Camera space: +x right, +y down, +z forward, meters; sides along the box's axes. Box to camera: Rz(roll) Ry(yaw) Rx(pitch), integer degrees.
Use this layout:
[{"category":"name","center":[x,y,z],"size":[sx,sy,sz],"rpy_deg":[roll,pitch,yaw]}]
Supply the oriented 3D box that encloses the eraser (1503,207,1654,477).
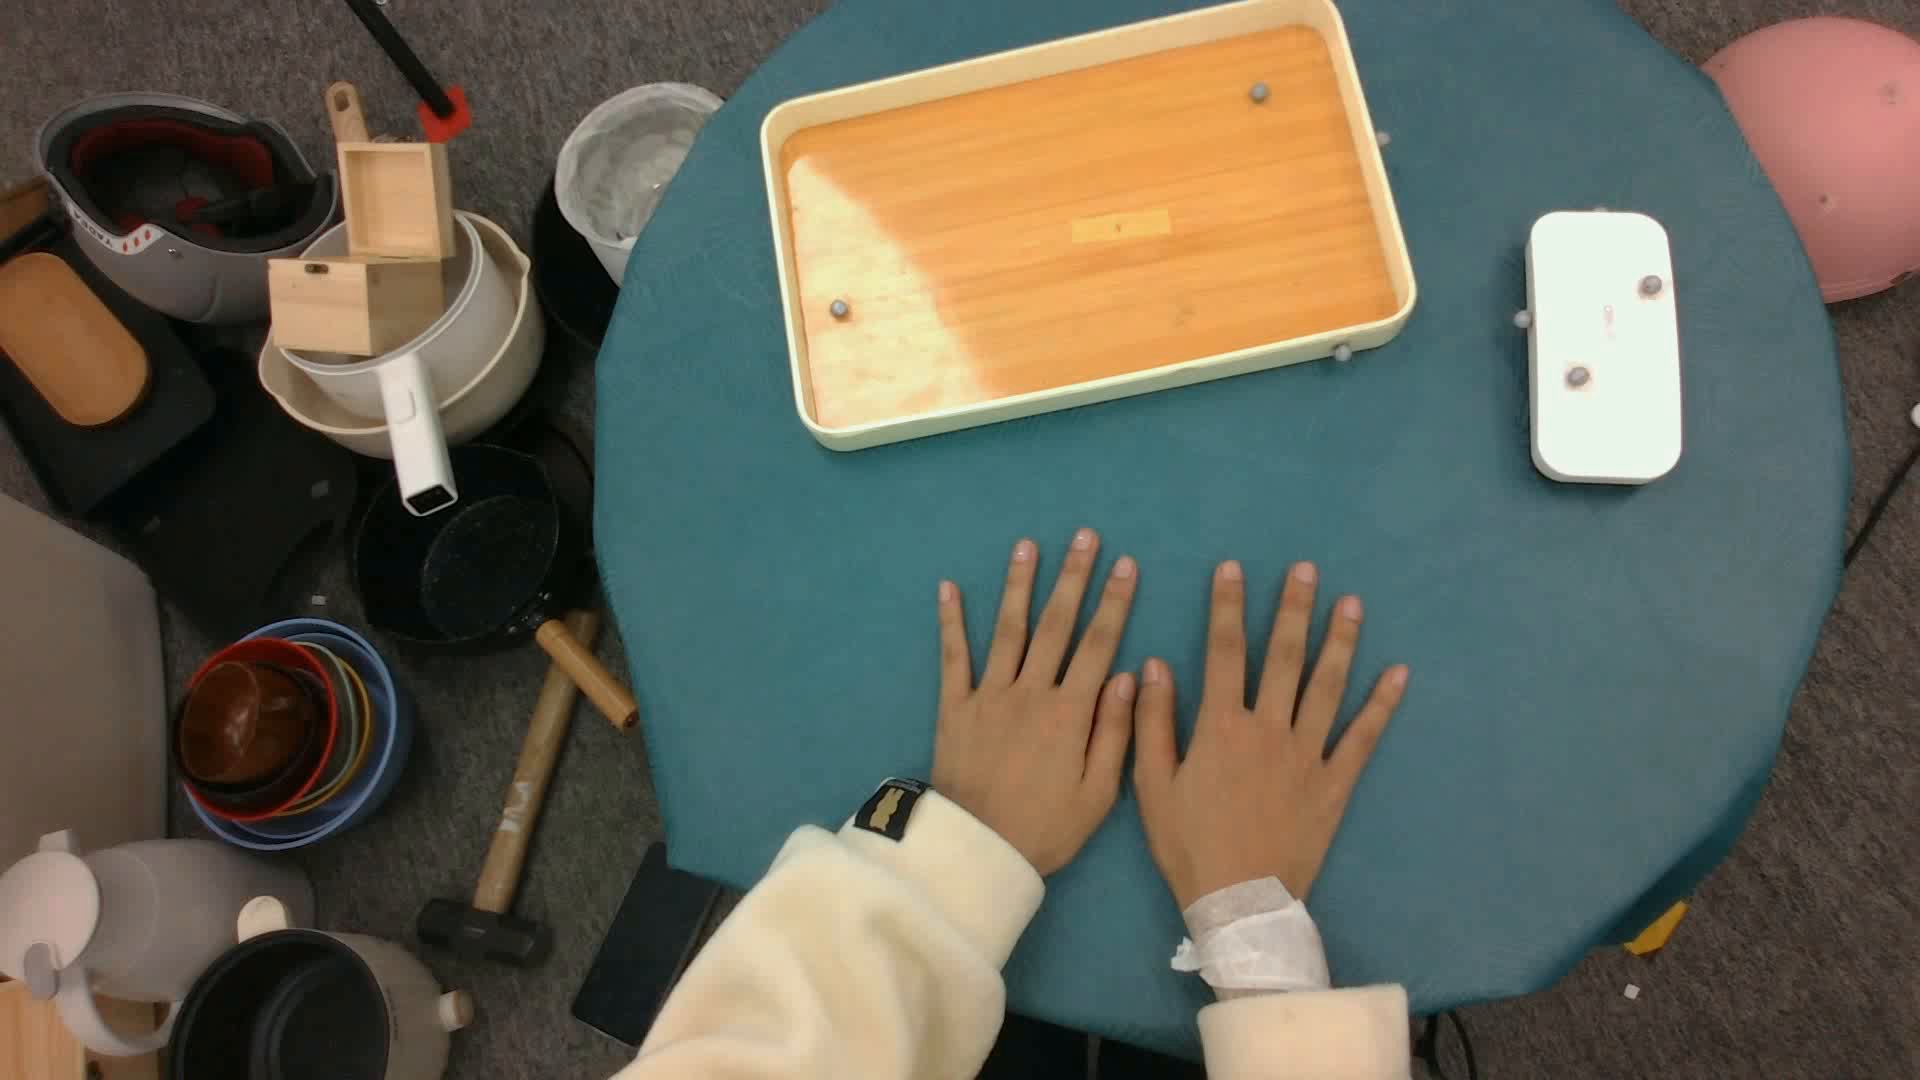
[{"category":"eraser","center":[0.284,-0.094,0.641],"size":[0.063,0.034,0.131],"rpy_deg":[4,73,7]}]

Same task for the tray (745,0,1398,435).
[{"category":"tray","center":[0.049,-0.168,0.691],"size":[0.300,0.027,0.192],"rpy_deg":[-10,72,3]}]
